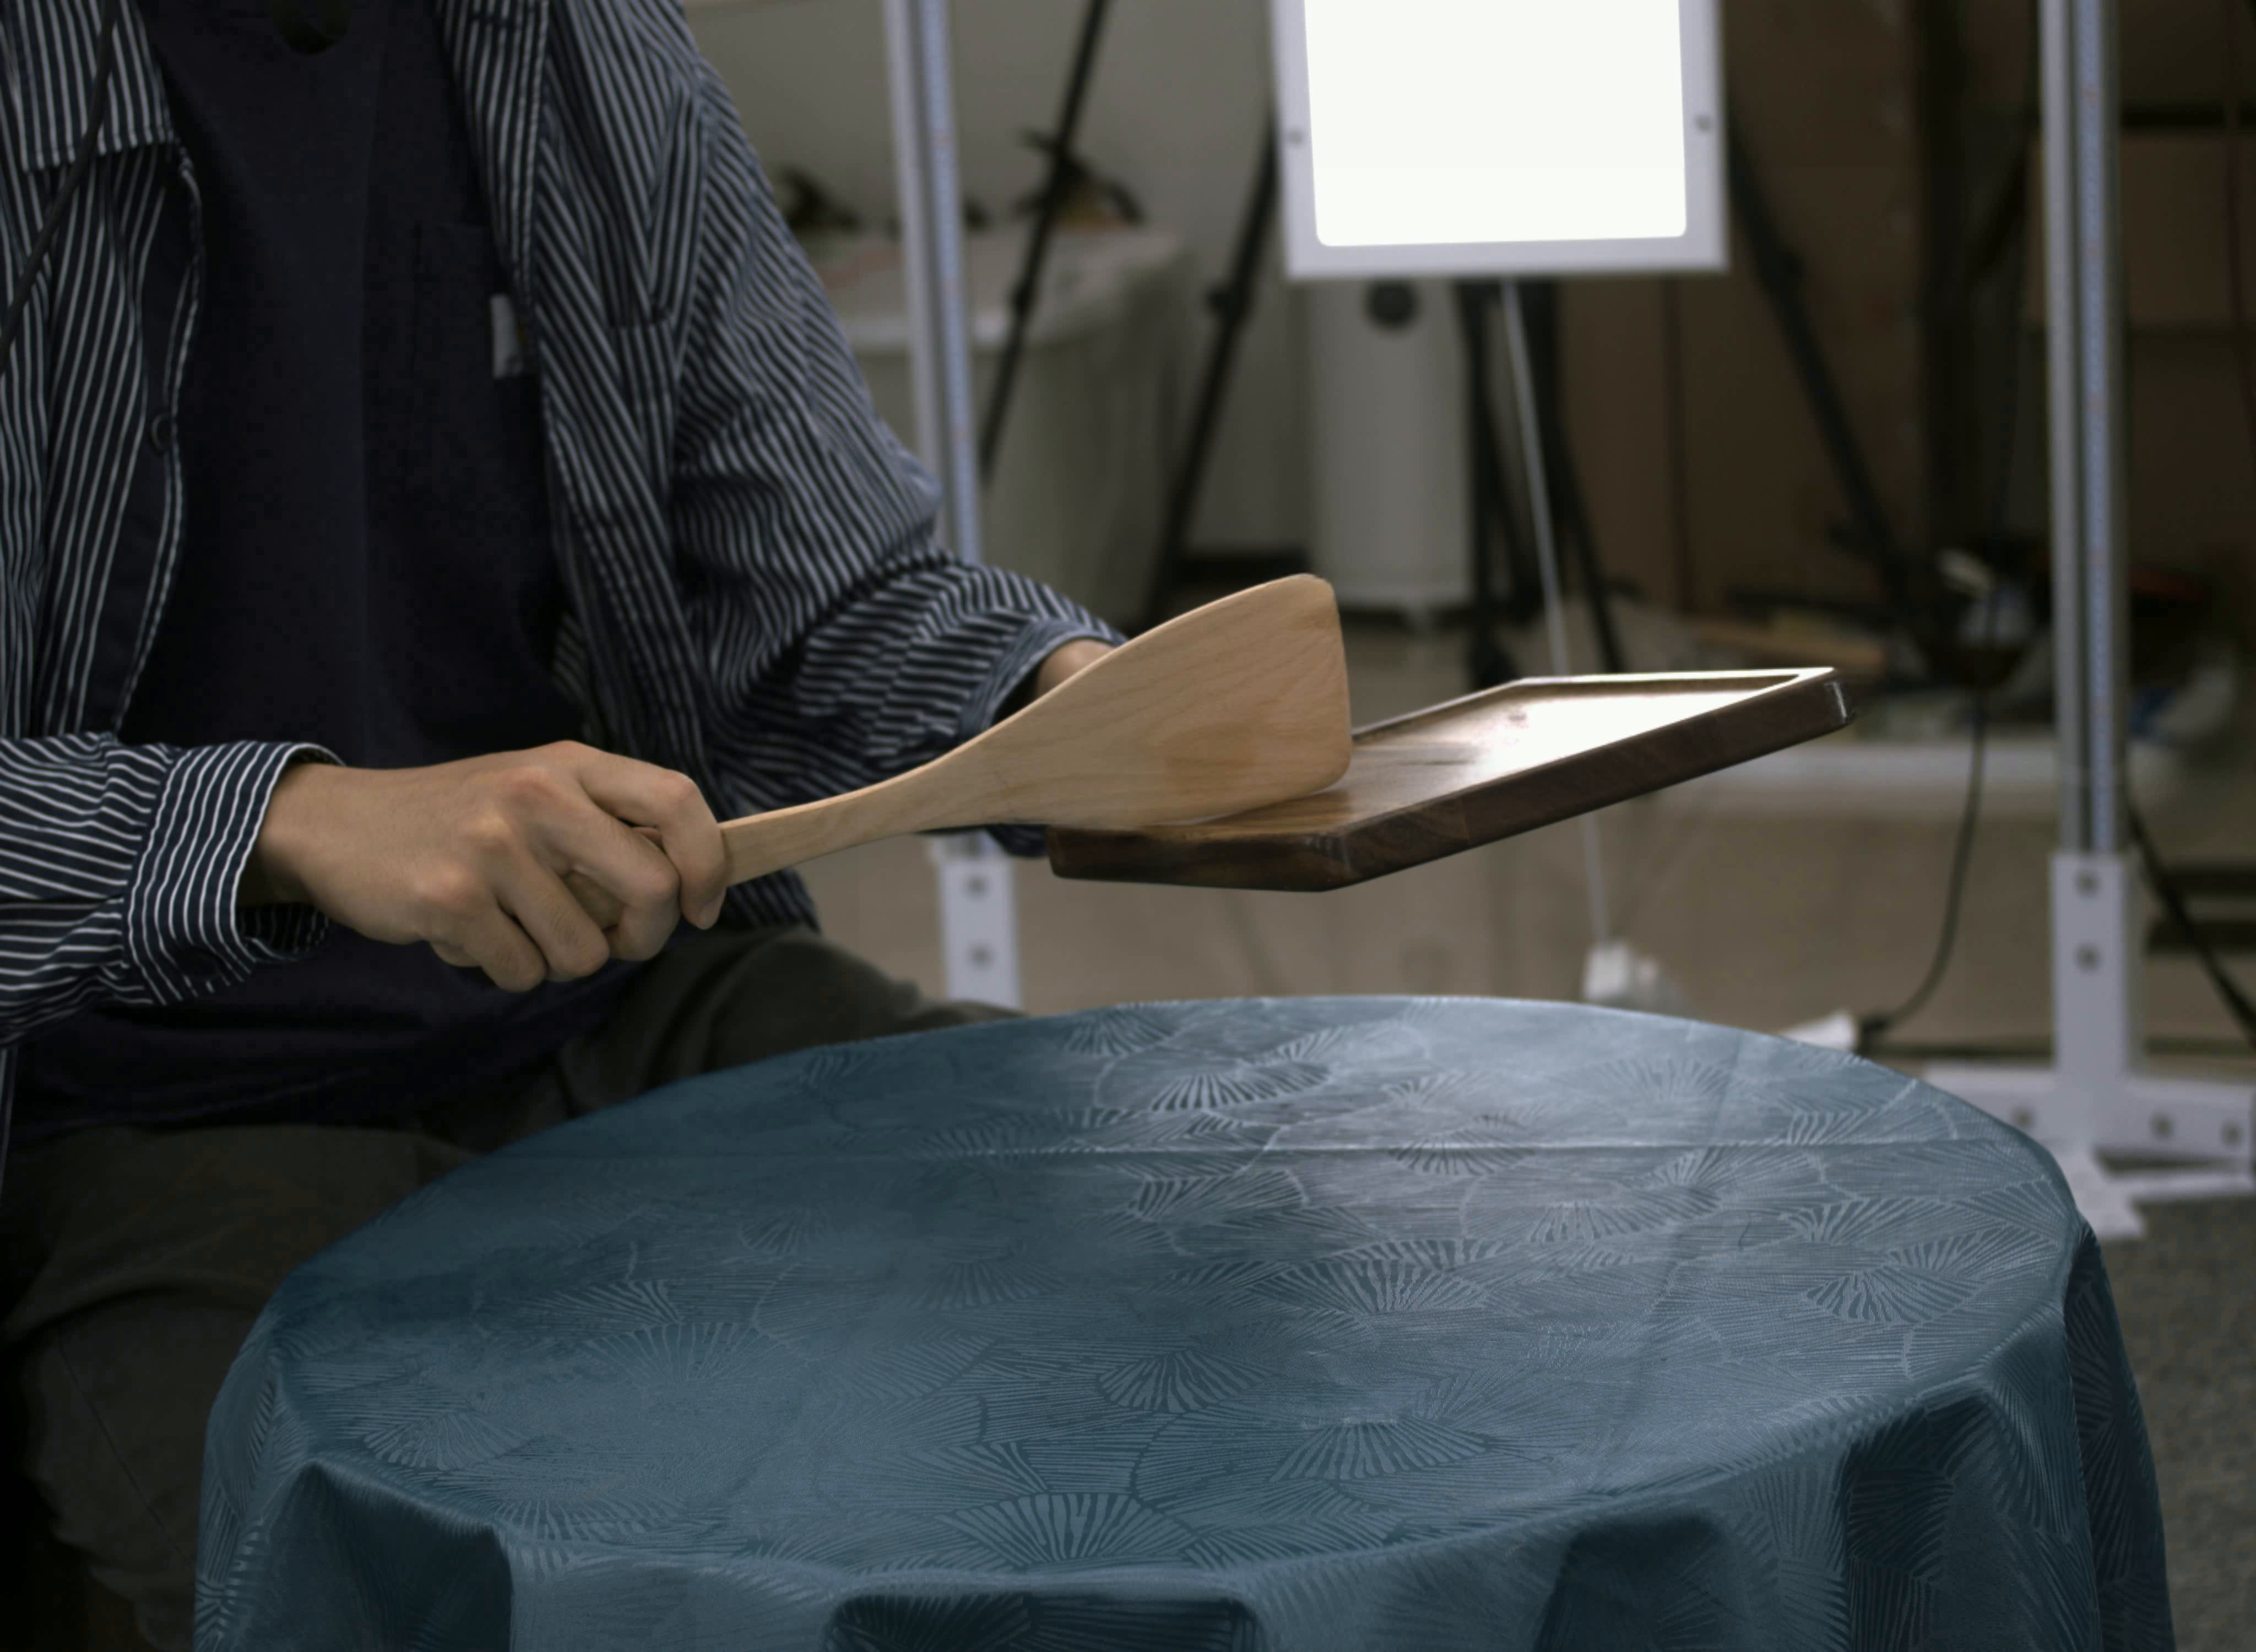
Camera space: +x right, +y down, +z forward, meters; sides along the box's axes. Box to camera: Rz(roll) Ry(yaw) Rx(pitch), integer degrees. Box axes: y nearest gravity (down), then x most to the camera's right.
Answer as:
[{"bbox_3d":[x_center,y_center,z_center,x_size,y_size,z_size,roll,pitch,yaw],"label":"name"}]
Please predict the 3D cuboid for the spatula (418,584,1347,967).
[{"bbox_3d":[-0.081,-0.004,1.834,0.329,0.080,0.016,-15,26,11],"label":"spatula"}]

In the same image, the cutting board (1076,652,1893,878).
[{"bbox_3d":[0.097,-0.021,1.875,0.198,0.023,0.357,-17,6,-19],"label":"cutting board"}]
